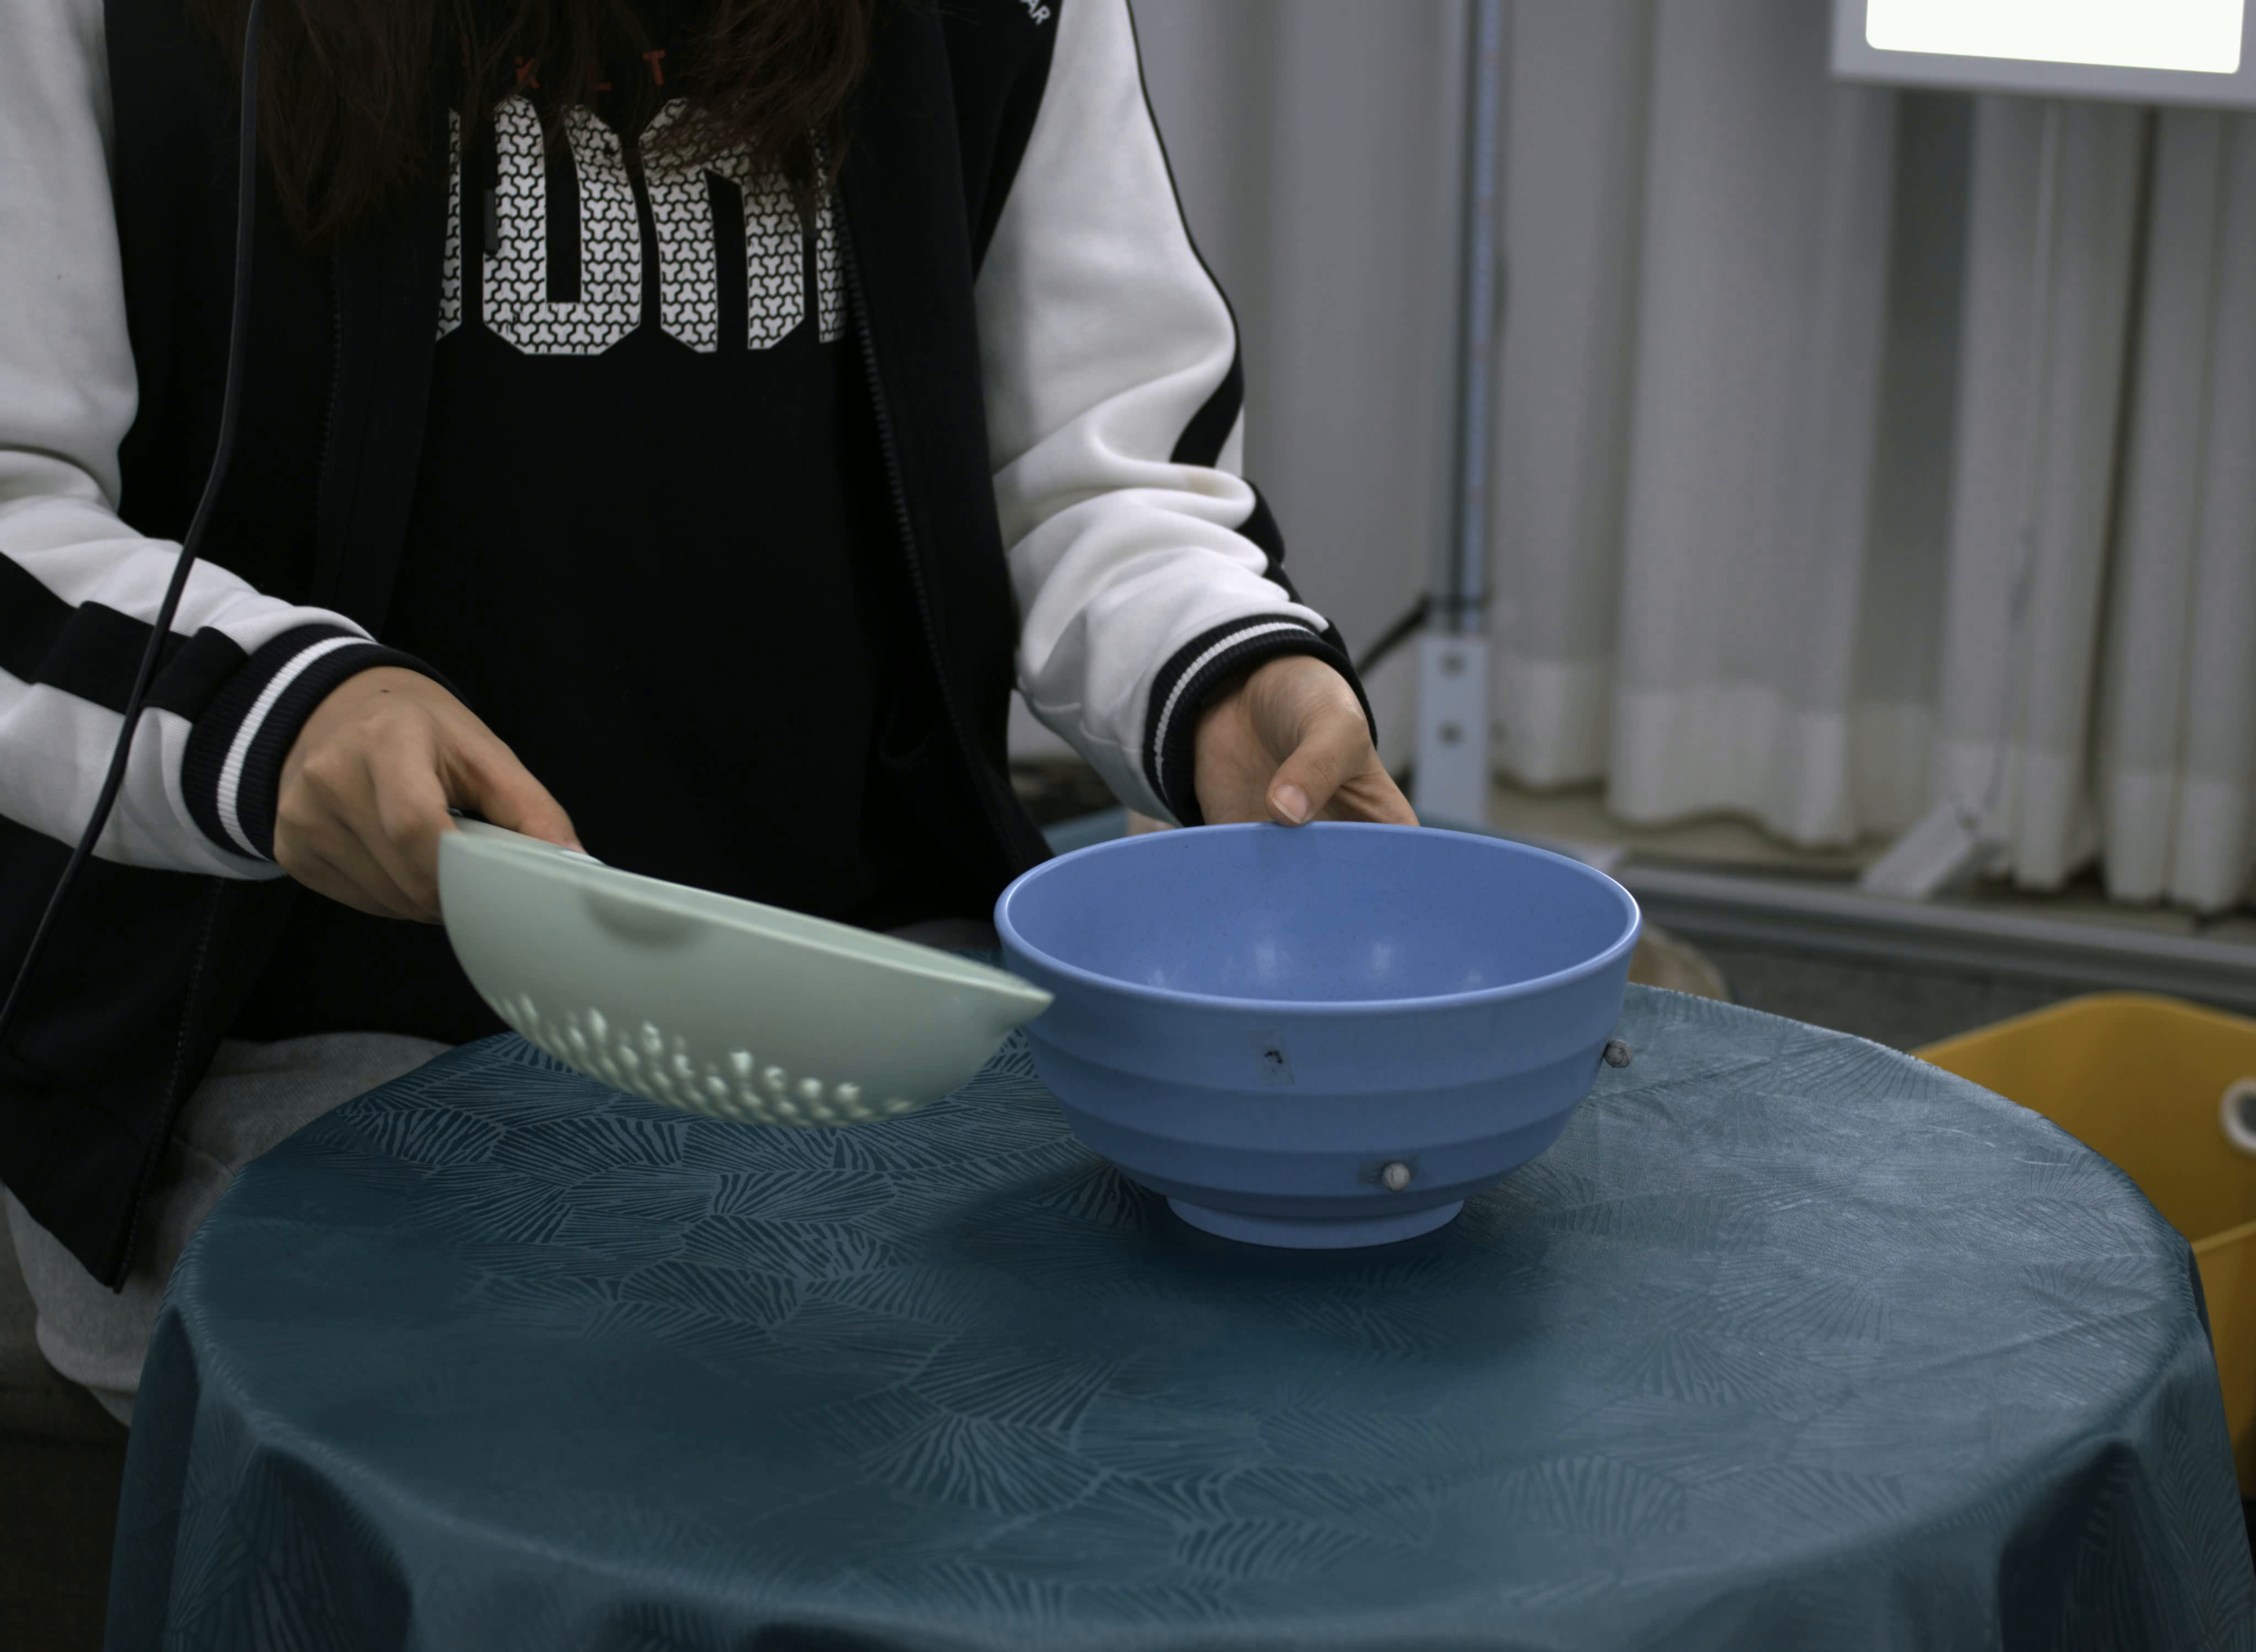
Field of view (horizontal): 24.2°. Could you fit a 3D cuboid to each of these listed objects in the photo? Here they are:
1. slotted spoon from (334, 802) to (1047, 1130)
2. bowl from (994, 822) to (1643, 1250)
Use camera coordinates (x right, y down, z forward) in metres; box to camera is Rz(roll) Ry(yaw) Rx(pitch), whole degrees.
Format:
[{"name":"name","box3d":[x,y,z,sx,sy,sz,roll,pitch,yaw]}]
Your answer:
[{"name":"slotted spoon","box3d":[-0.159,0.023,1.524,0.171,0.075,0.354,19,5,-30]},{"name":"bowl","box3d":[0.057,0.069,1.601,0.196,0.096,0.195,0,16,1]}]
